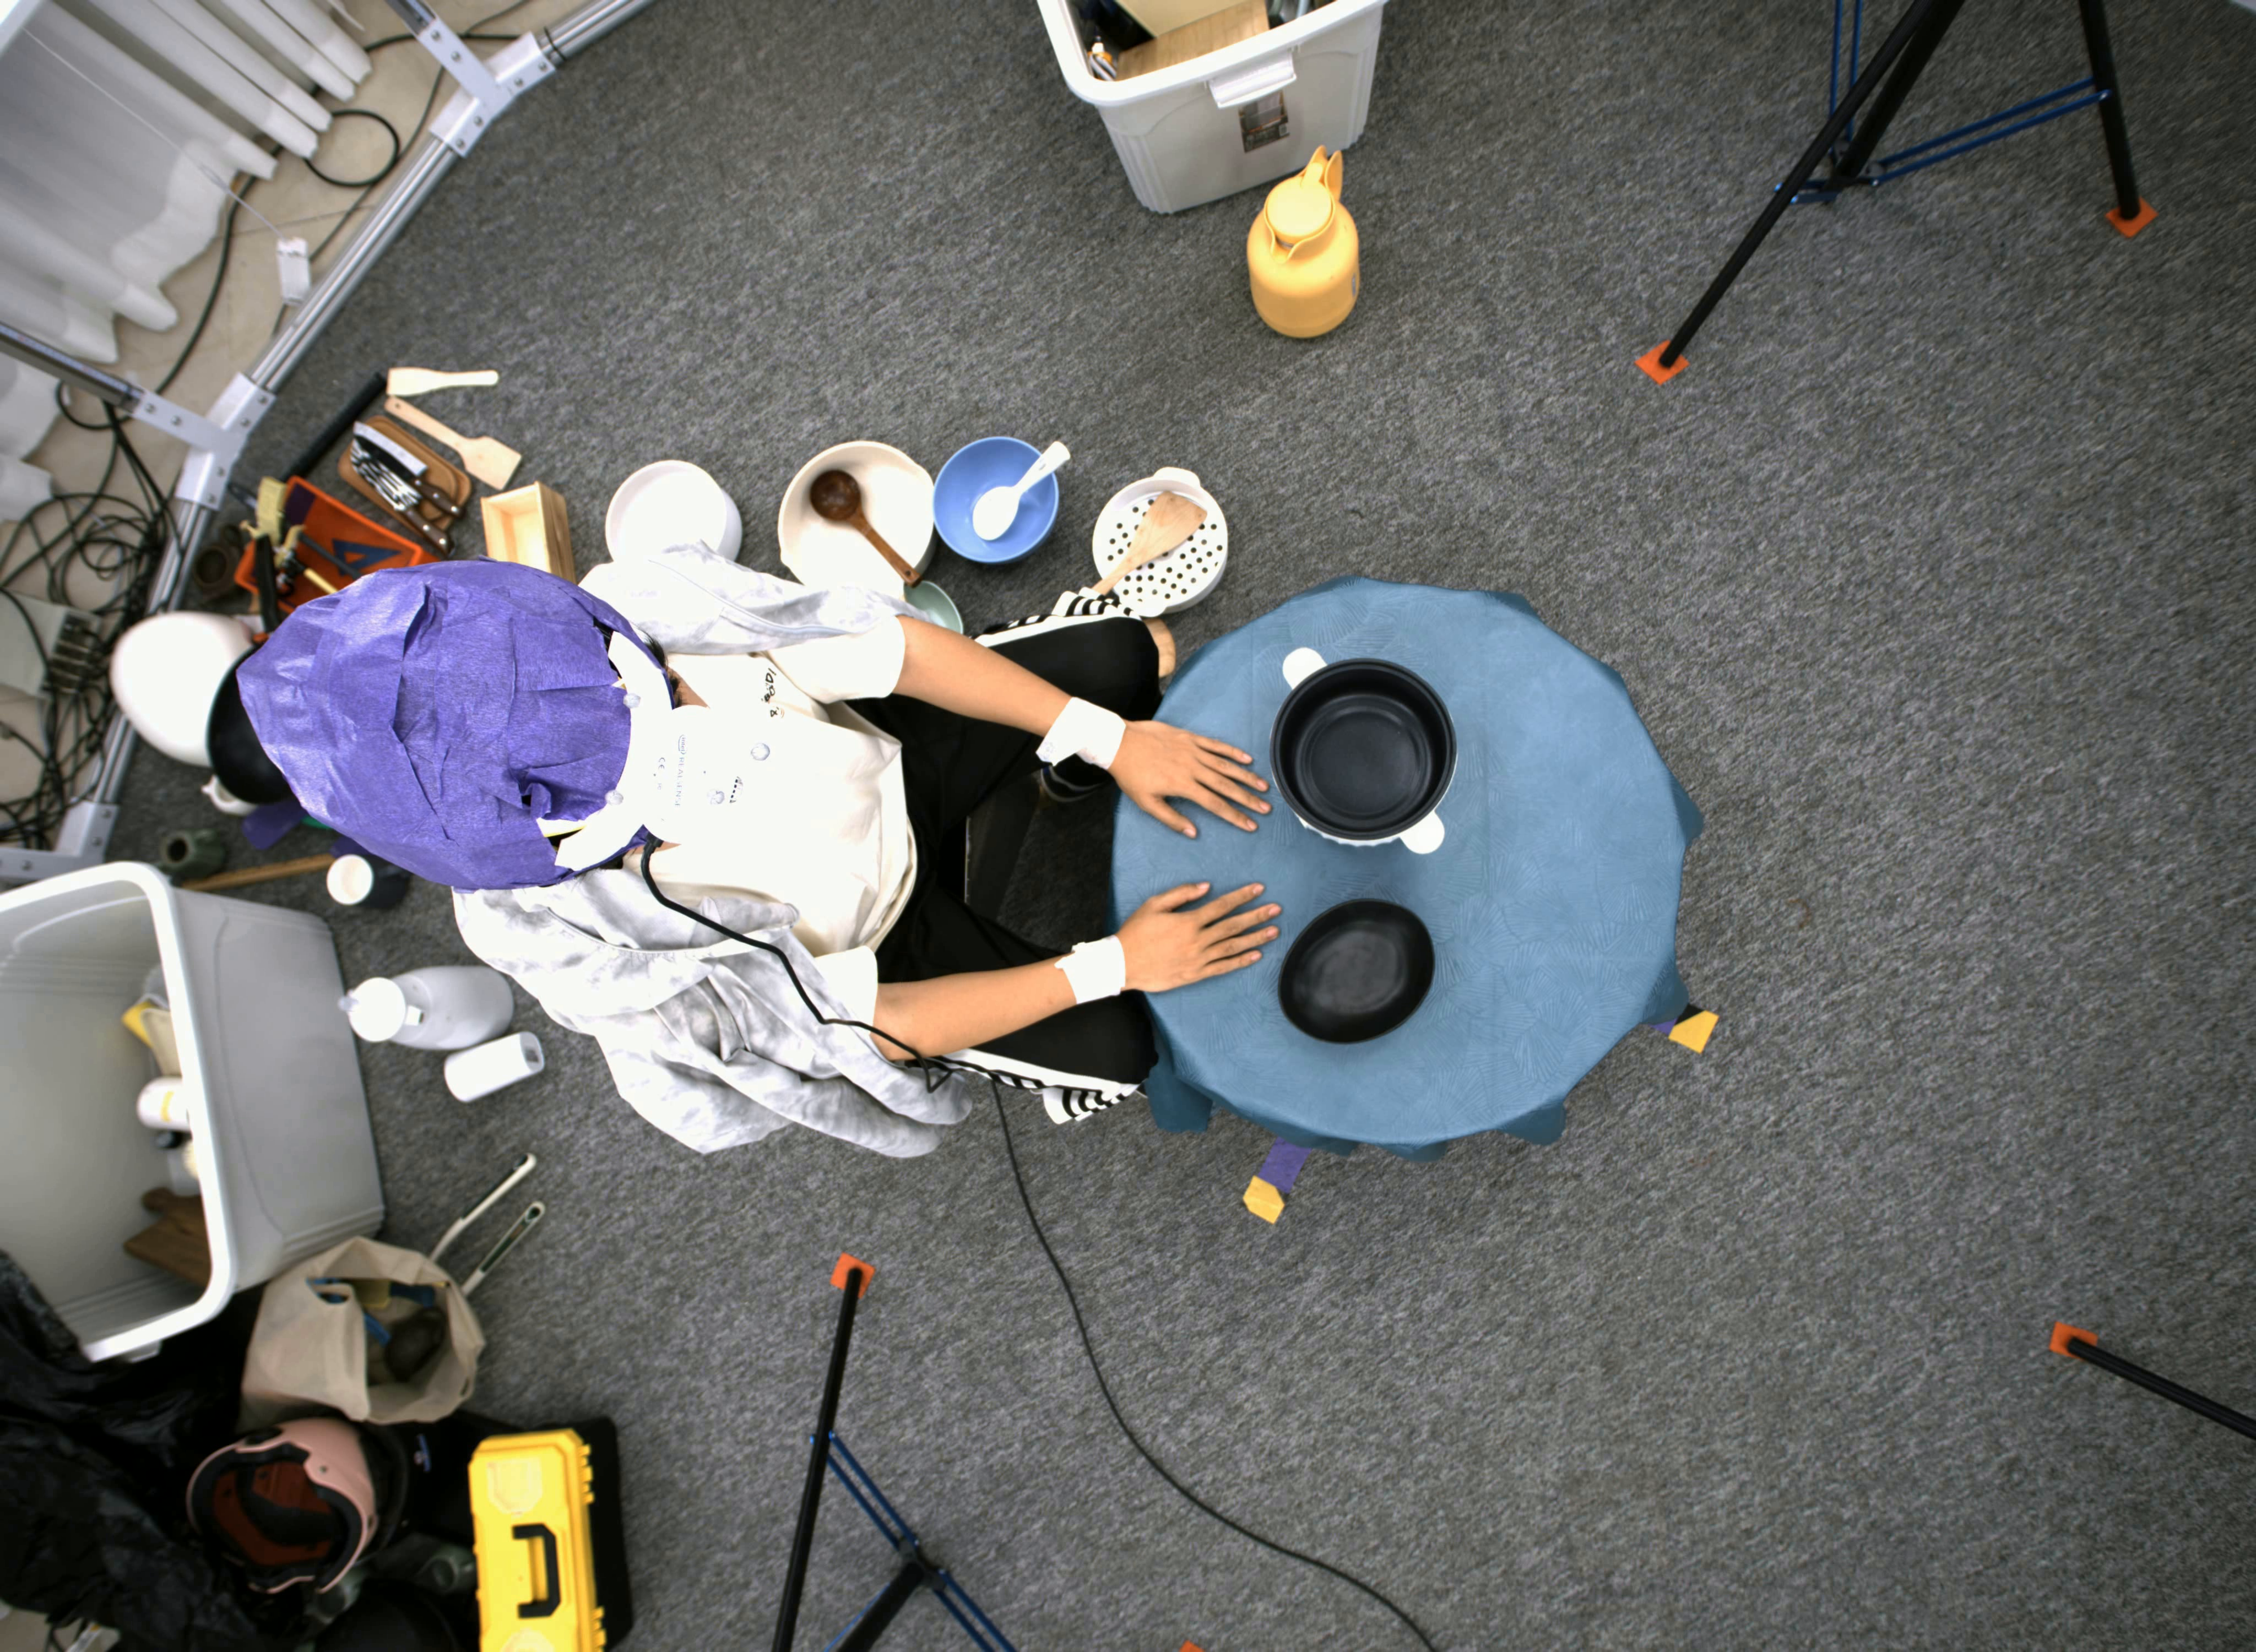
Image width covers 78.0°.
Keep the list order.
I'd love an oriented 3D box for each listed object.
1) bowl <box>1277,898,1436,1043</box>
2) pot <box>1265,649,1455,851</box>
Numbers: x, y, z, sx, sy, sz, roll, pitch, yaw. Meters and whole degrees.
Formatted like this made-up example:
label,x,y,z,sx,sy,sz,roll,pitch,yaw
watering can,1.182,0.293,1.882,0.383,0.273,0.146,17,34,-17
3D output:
label,x,y,z,sx,sy,sz,roll,pitch,yaw
bowl,0.237,0.150,1.427,0.171,0.067,0.136,-37,80,8
pot,0.242,-0.074,1.401,0.192,0.142,0.239,-37,81,9
